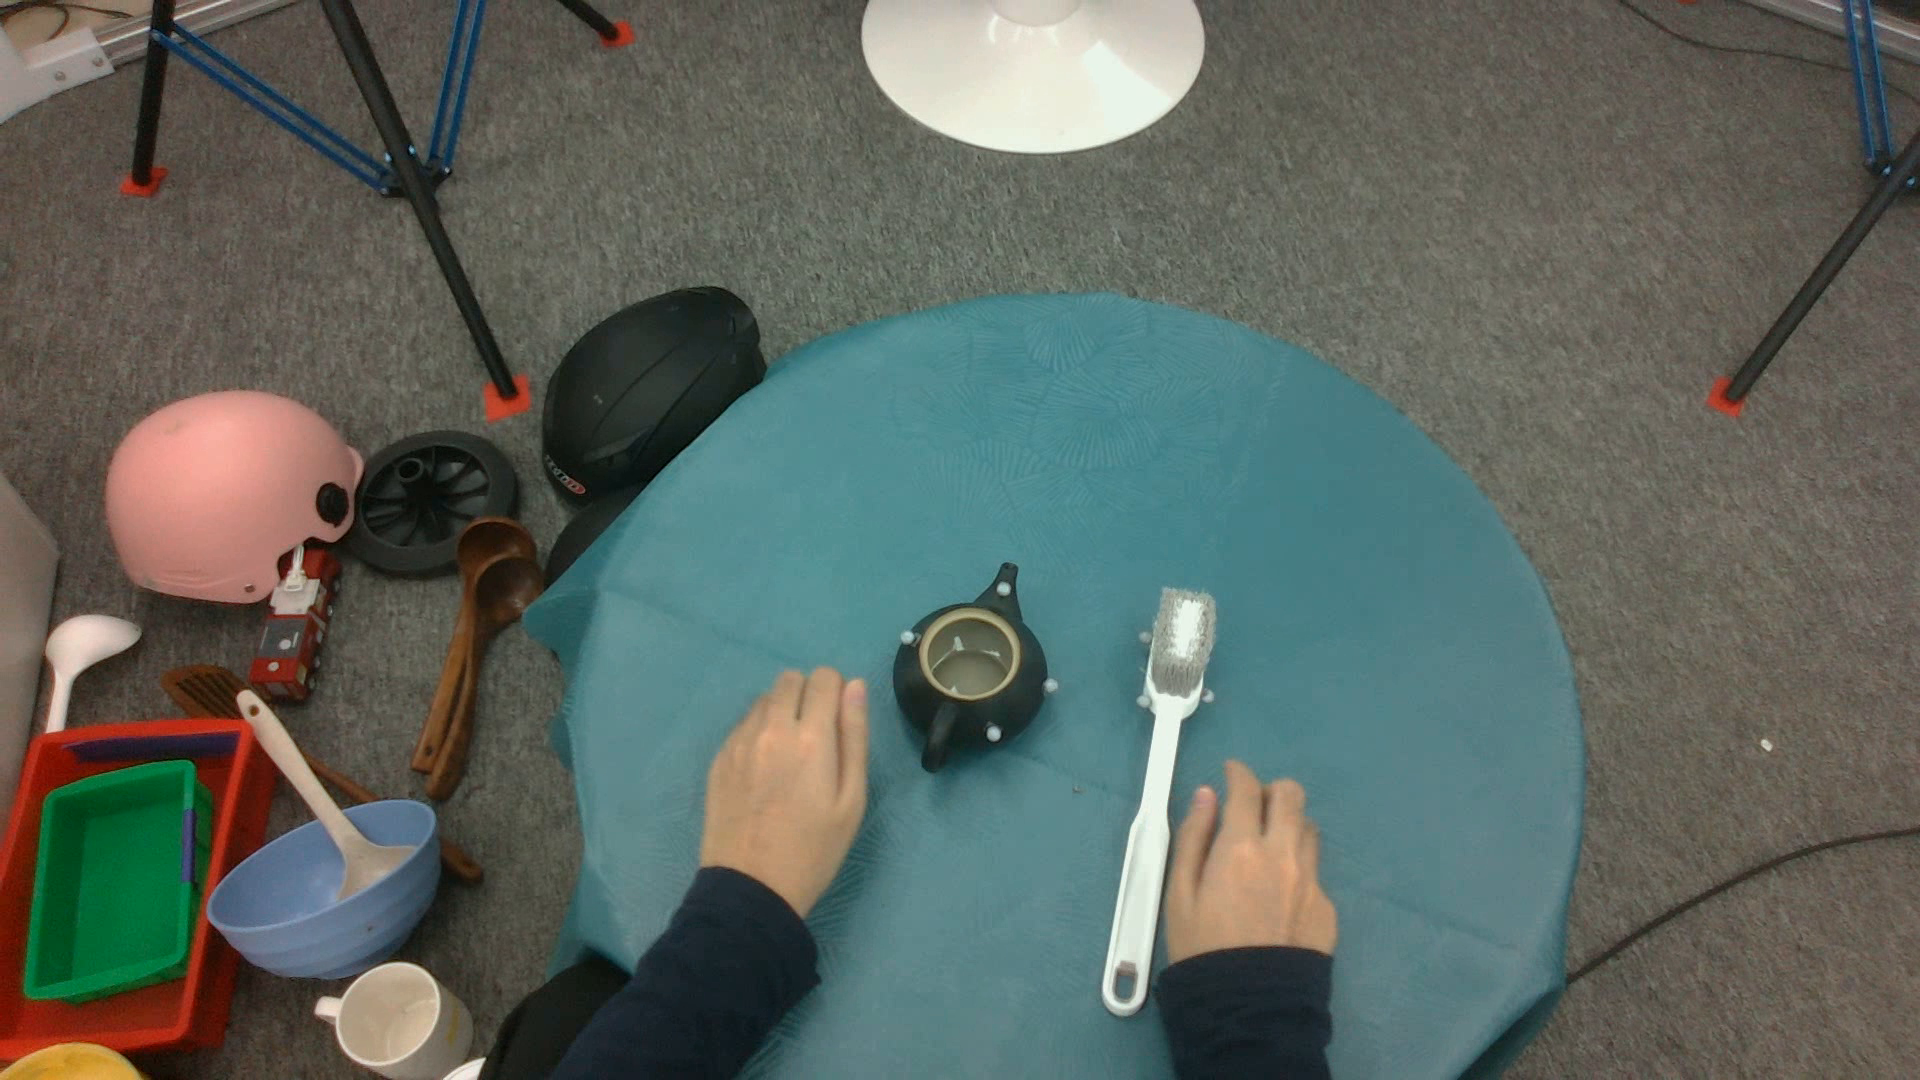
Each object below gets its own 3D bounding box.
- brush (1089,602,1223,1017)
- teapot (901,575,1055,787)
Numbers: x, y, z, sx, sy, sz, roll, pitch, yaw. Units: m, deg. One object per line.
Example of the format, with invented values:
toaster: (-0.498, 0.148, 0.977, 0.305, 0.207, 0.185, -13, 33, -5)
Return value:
brush: (0.112, 0.143, 0.775, 0.034, 0.050, 0.245, 15, 58, 6)
teapot: (0.010, 0.086, 0.808, 0.091, 0.053, 0.134, 16, 59, 14)
